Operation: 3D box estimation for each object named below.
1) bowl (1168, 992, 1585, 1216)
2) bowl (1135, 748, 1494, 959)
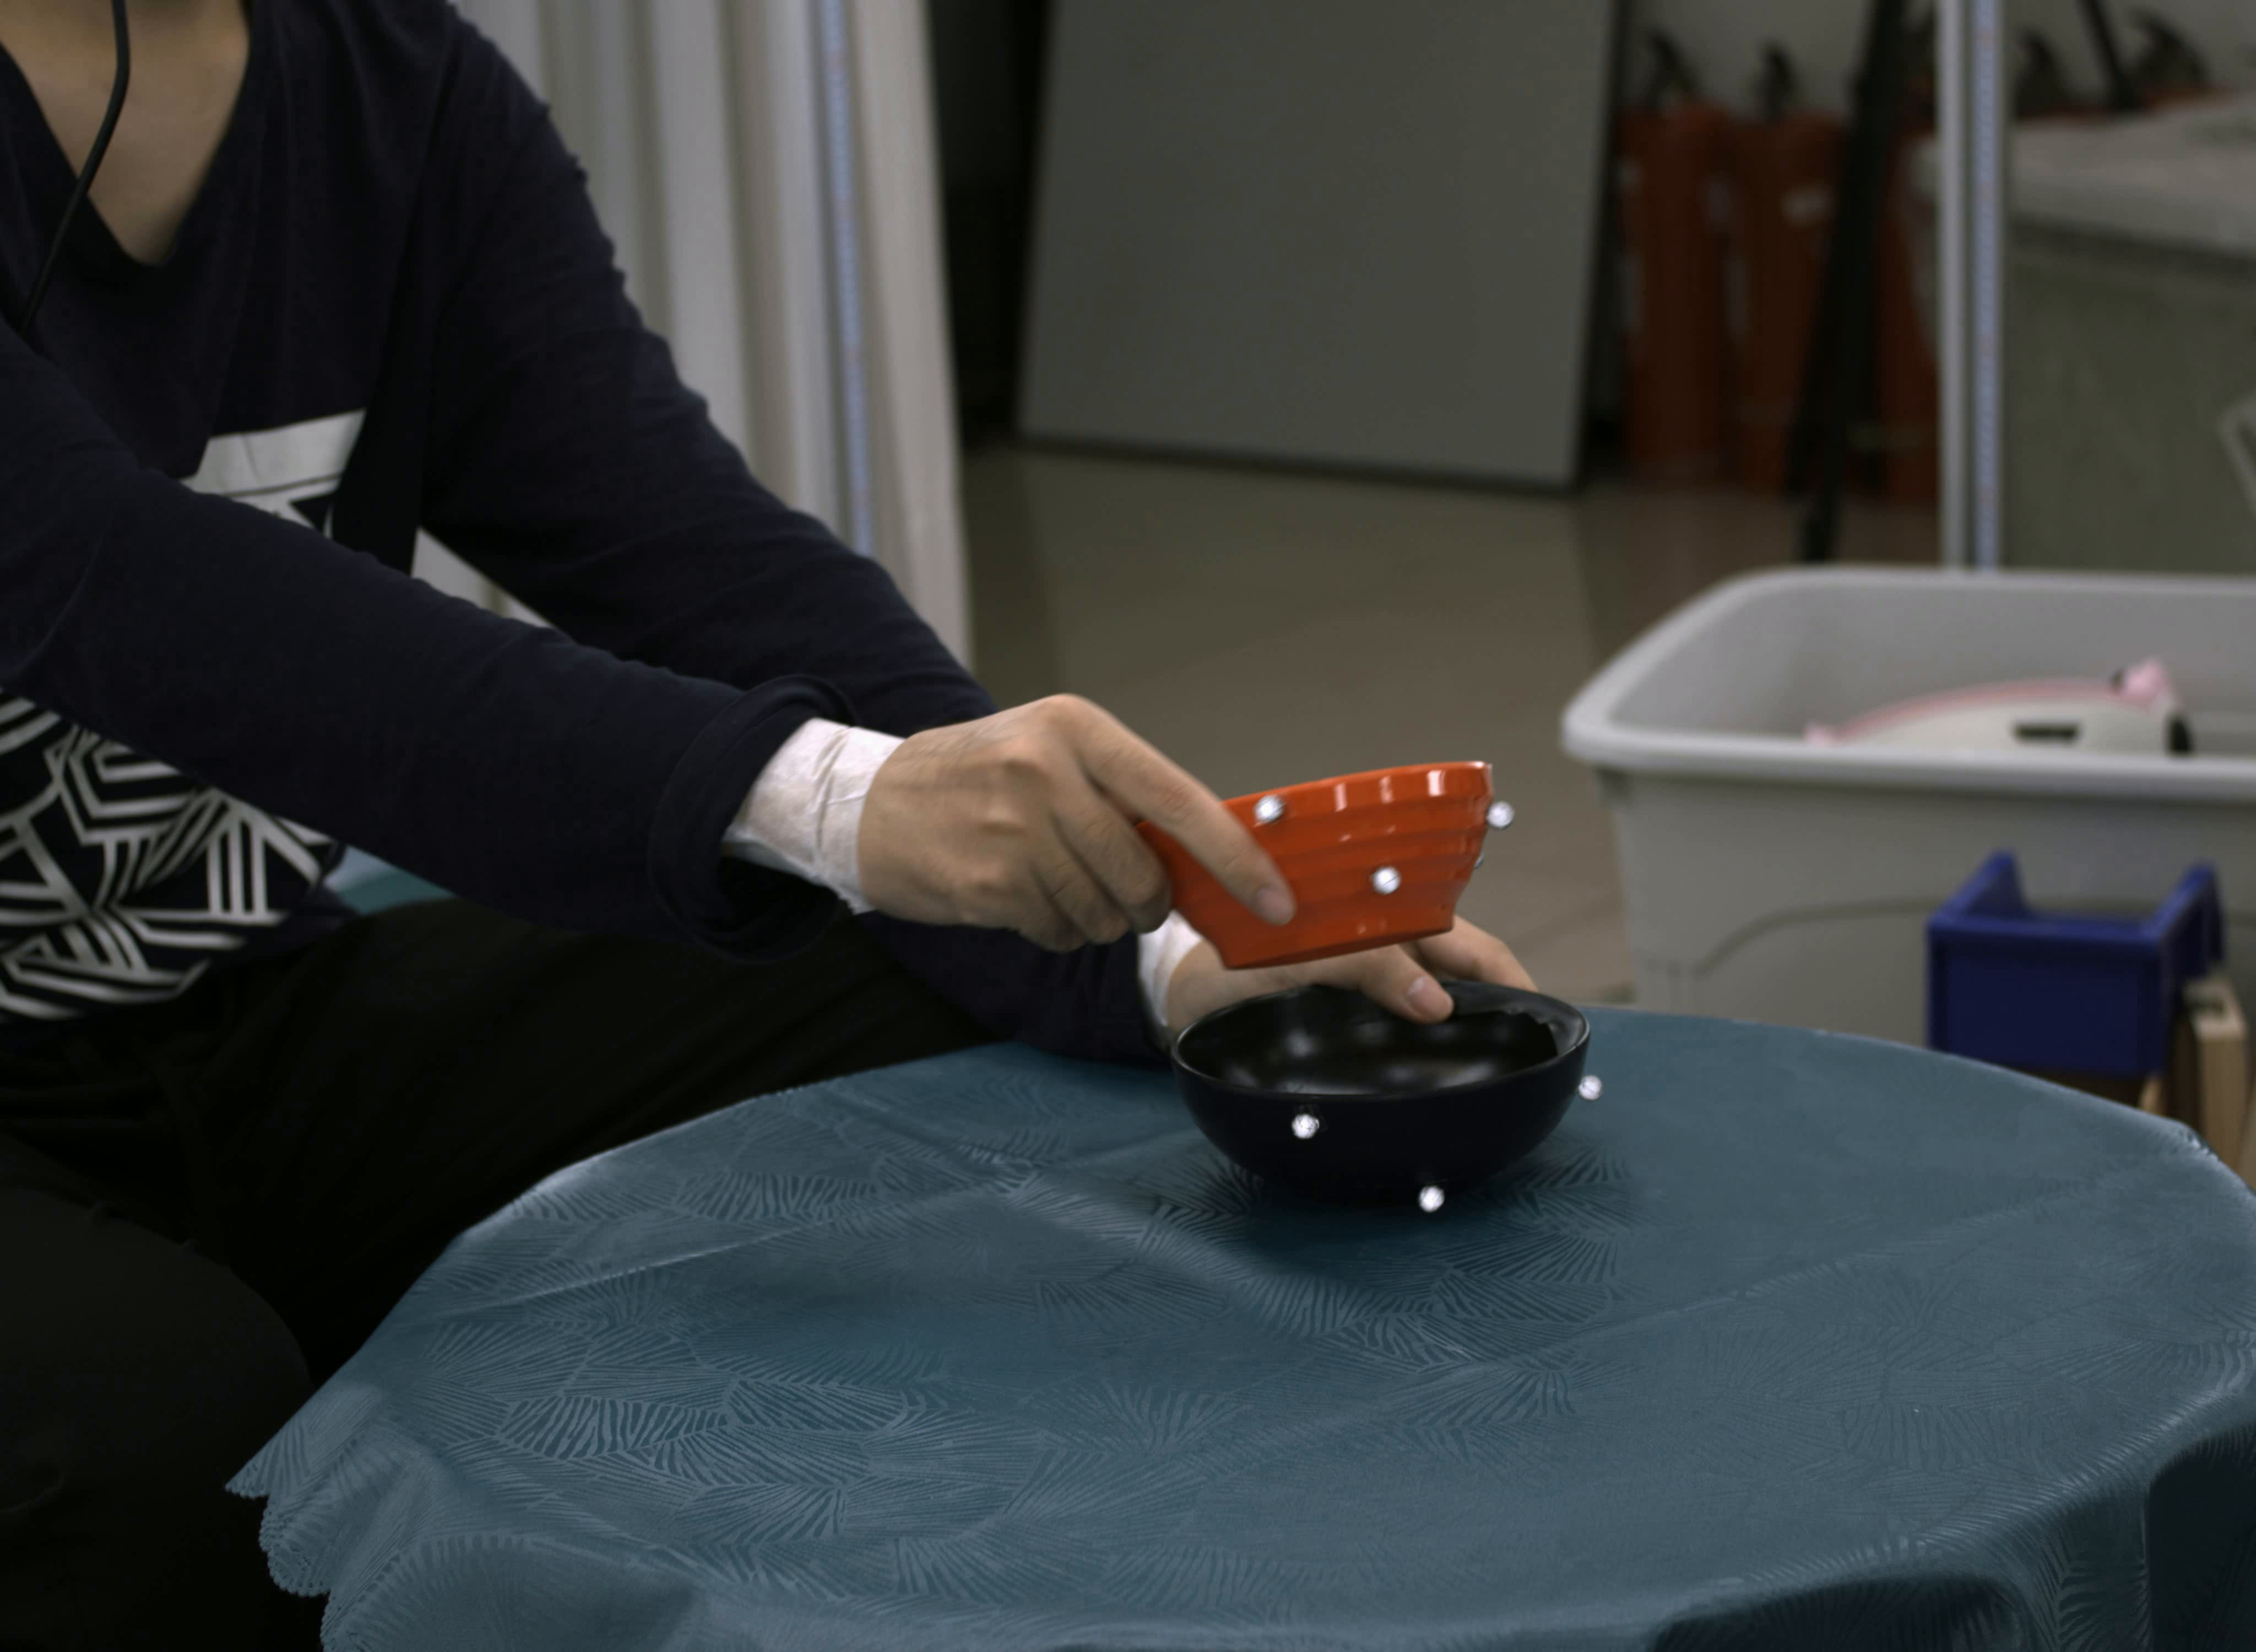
[{"bbox_3d":[0.084,0.095,1.765,0.138,0.050,0.140,-7,10,0],"label":"bowl"},{"bbox_3d":[0.063,0.011,1.697,0.117,0.052,0.119,-9,-4,-2],"label":"bowl"}]
